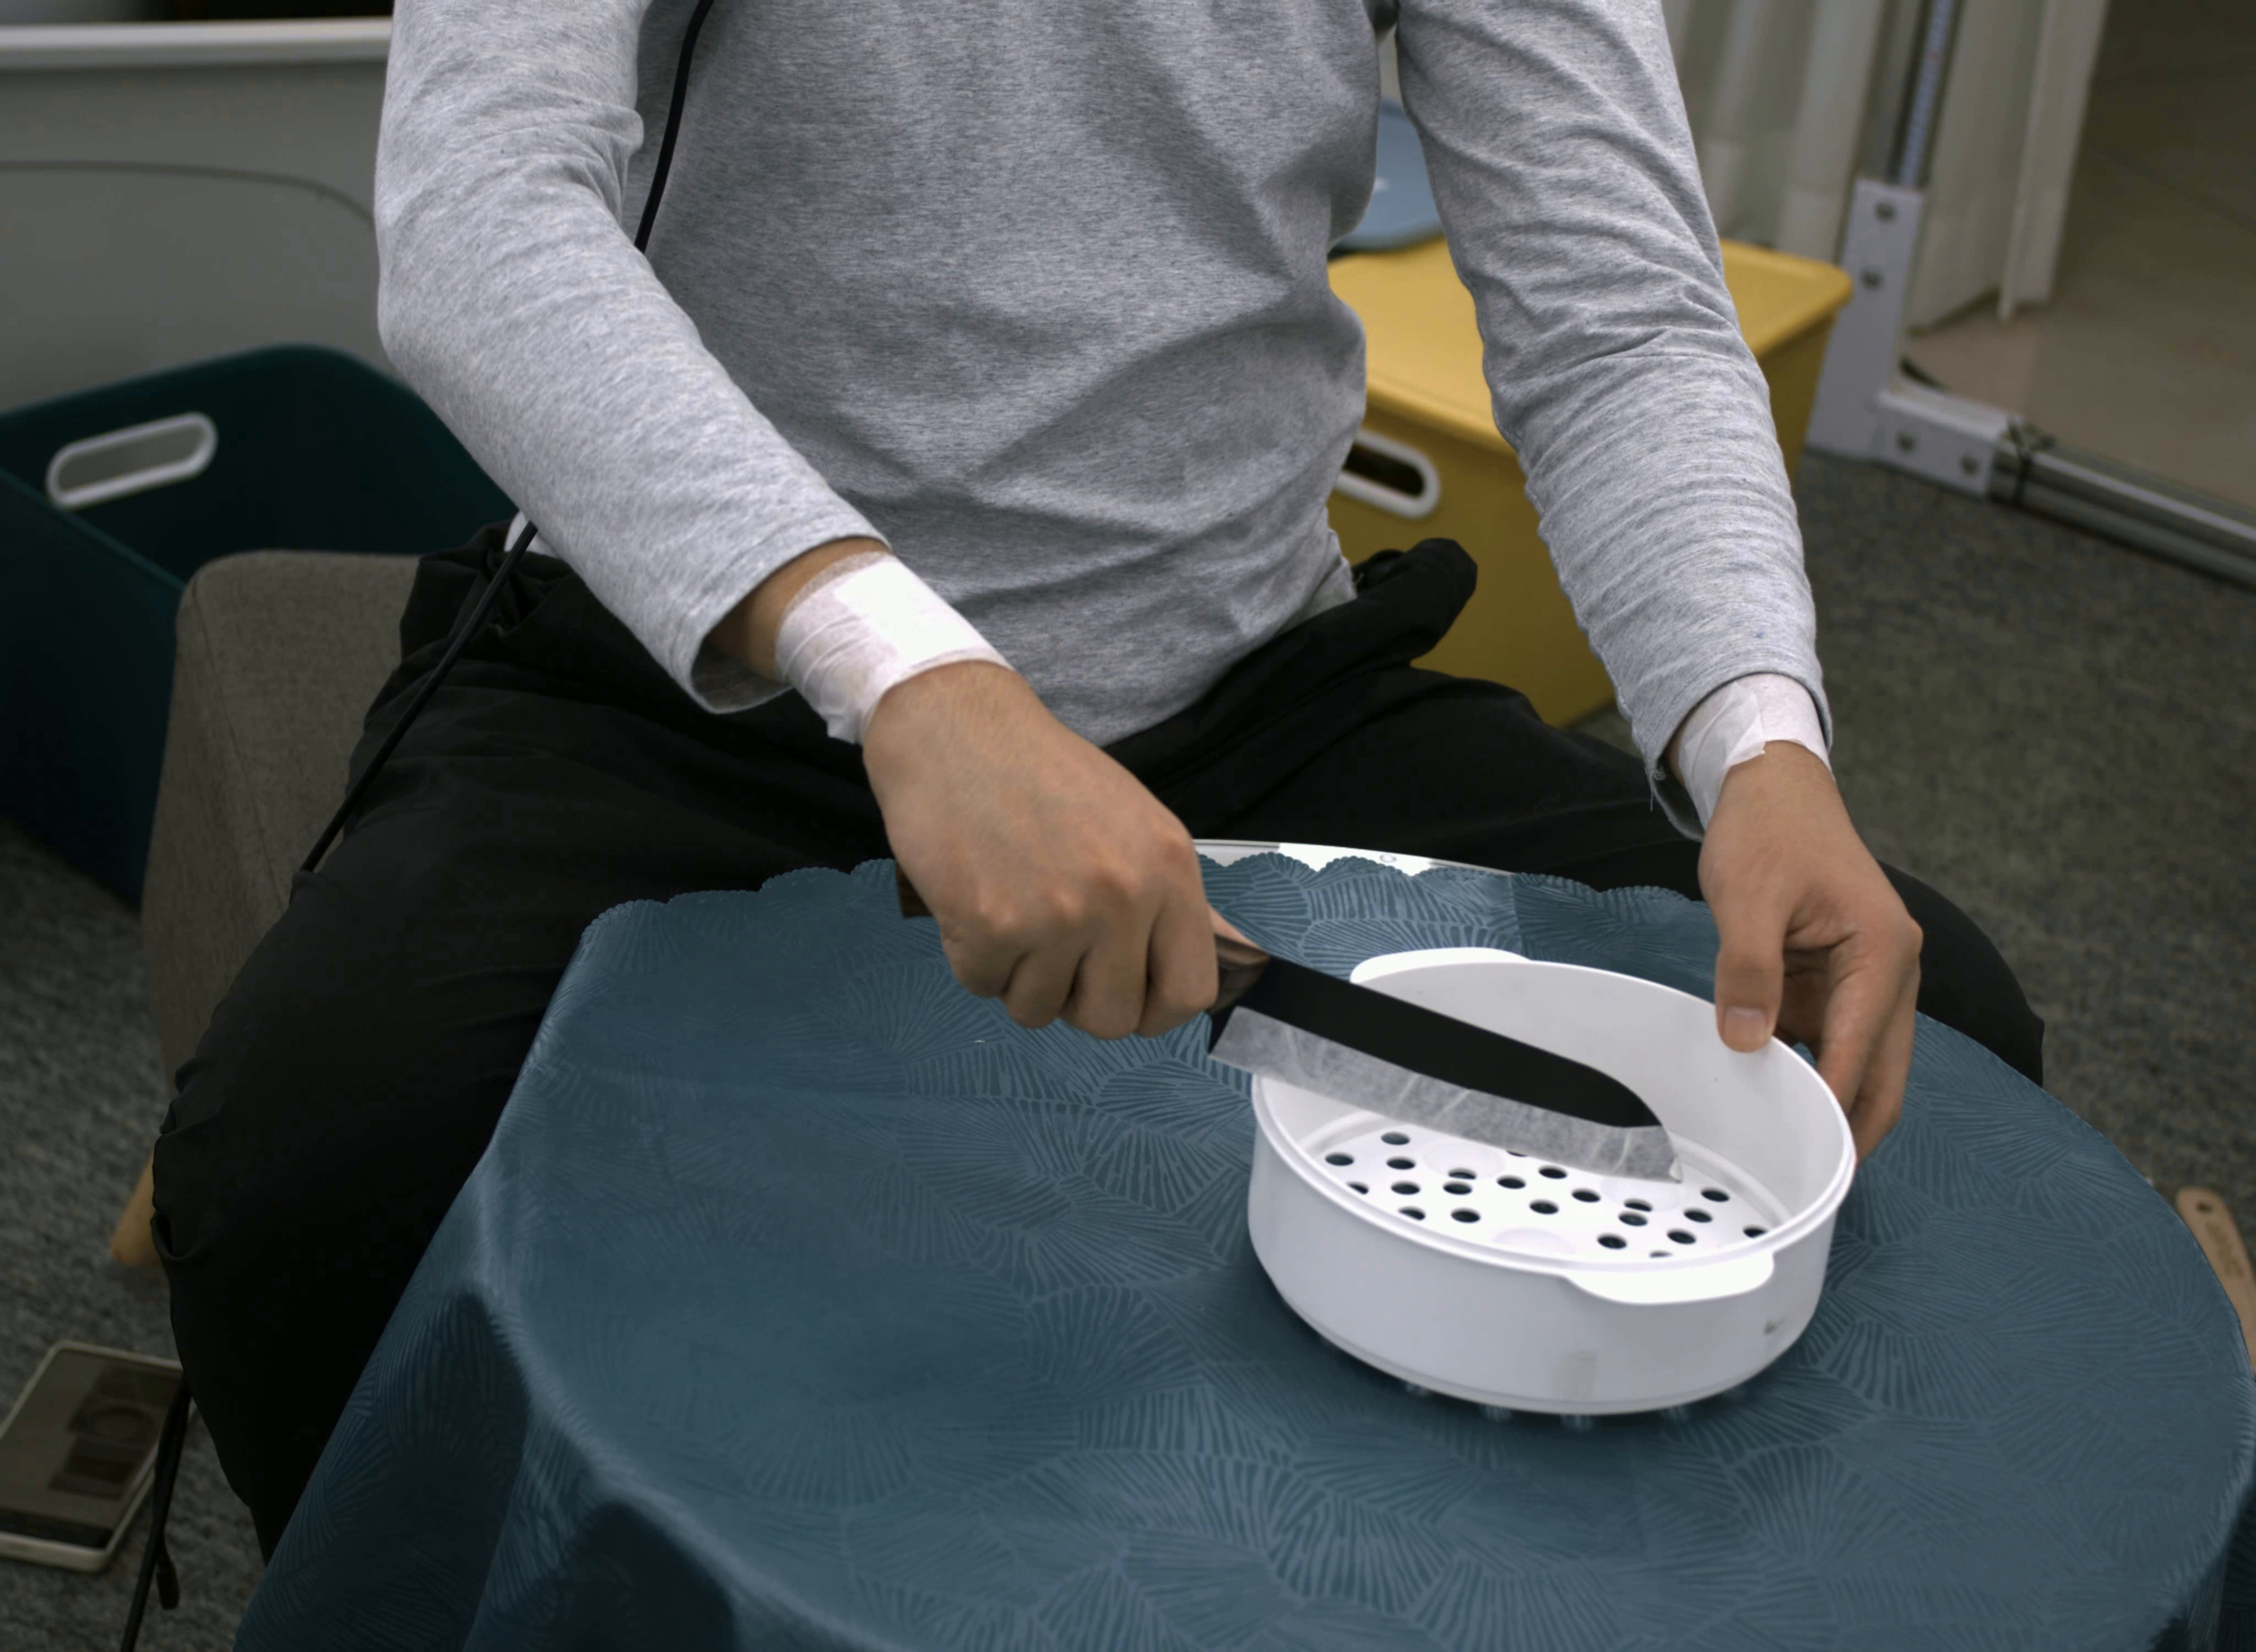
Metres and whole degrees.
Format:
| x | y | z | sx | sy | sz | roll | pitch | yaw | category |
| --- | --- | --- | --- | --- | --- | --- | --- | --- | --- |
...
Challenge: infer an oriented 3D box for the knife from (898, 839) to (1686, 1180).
| x | y | z | sx | sy | sz | roll | pitch | yaw | category |
| --- | --- | --- | --- | --- | --- | --- | --- | --- | --- |
| 0.055 | 0.063 | 1.741 | 0.287 | 0.050 | 0.020 | 21 | 28 | -11 | knife |

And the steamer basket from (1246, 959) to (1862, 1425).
| x | y | z | sx | sy | sz | roll | pitch | yaw | category |
| --- | --- | --- | --- | --- | --- | --- | --- | --- | --- |
| 0.139 | 0.123 | 1.762 | 0.200 | 0.069 | 0.232 | -4 | 28 | -19 | steamer basket |
